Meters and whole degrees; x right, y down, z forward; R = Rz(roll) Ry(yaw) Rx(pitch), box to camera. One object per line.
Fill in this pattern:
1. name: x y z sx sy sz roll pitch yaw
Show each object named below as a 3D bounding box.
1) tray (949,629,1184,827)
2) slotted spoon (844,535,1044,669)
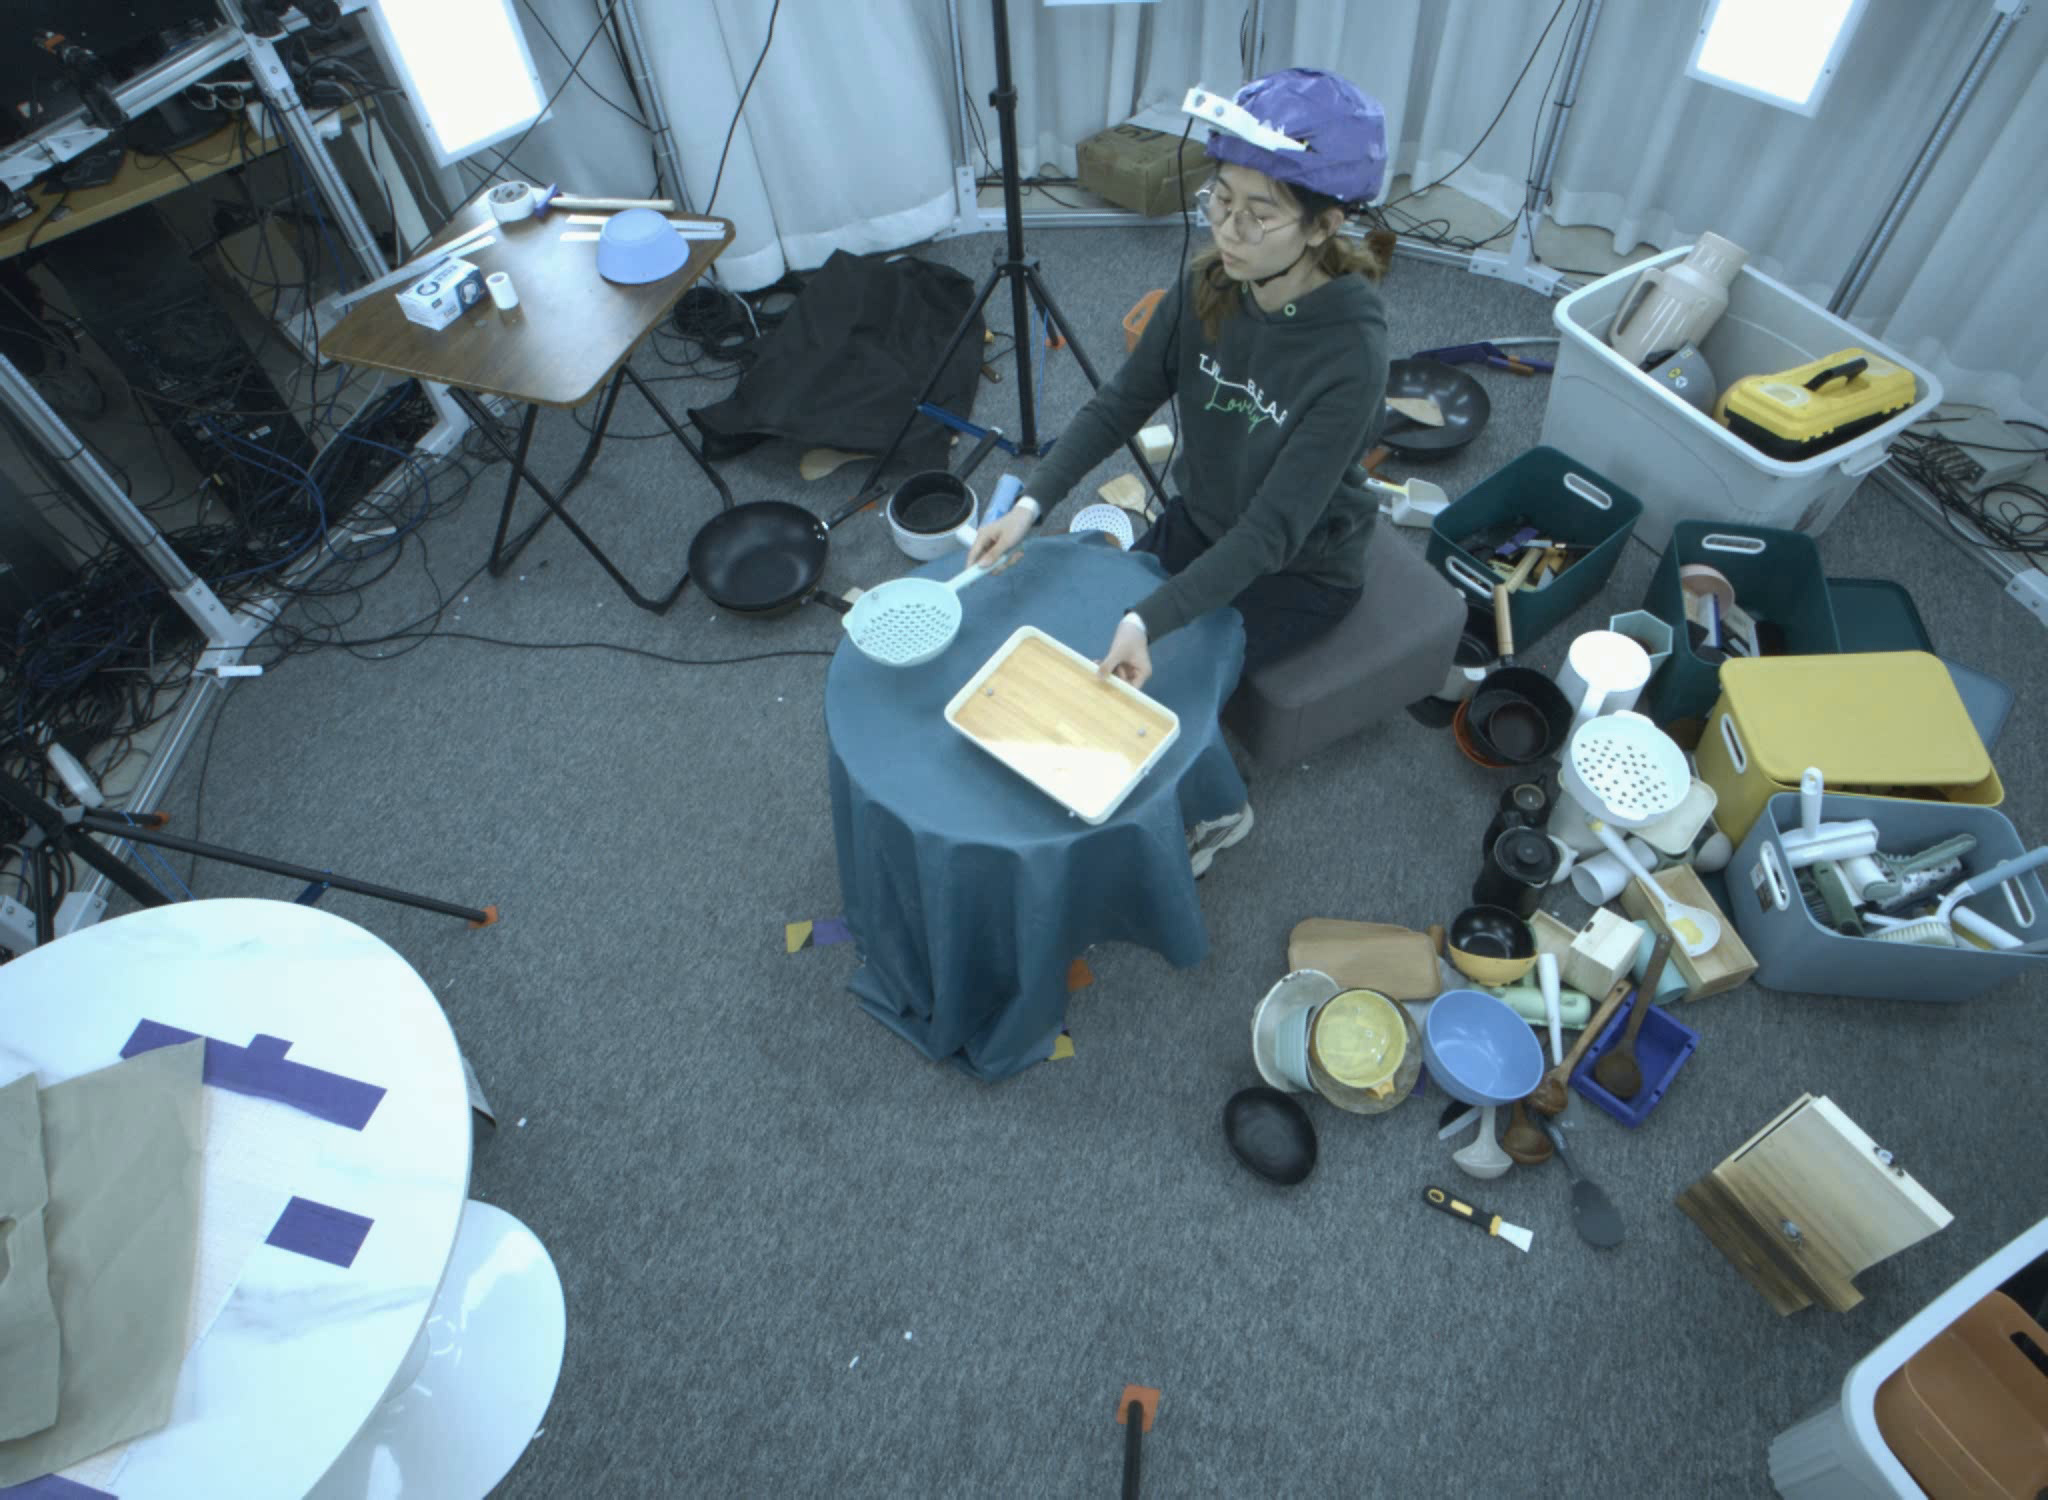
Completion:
1. tray: 0.056 -0.037 1.723 0.294 0.028 0.192 35 75 28
2. slotted spoon: -0.104 -0.242 1.863 0.166 0.076 0.360 38 69 27
